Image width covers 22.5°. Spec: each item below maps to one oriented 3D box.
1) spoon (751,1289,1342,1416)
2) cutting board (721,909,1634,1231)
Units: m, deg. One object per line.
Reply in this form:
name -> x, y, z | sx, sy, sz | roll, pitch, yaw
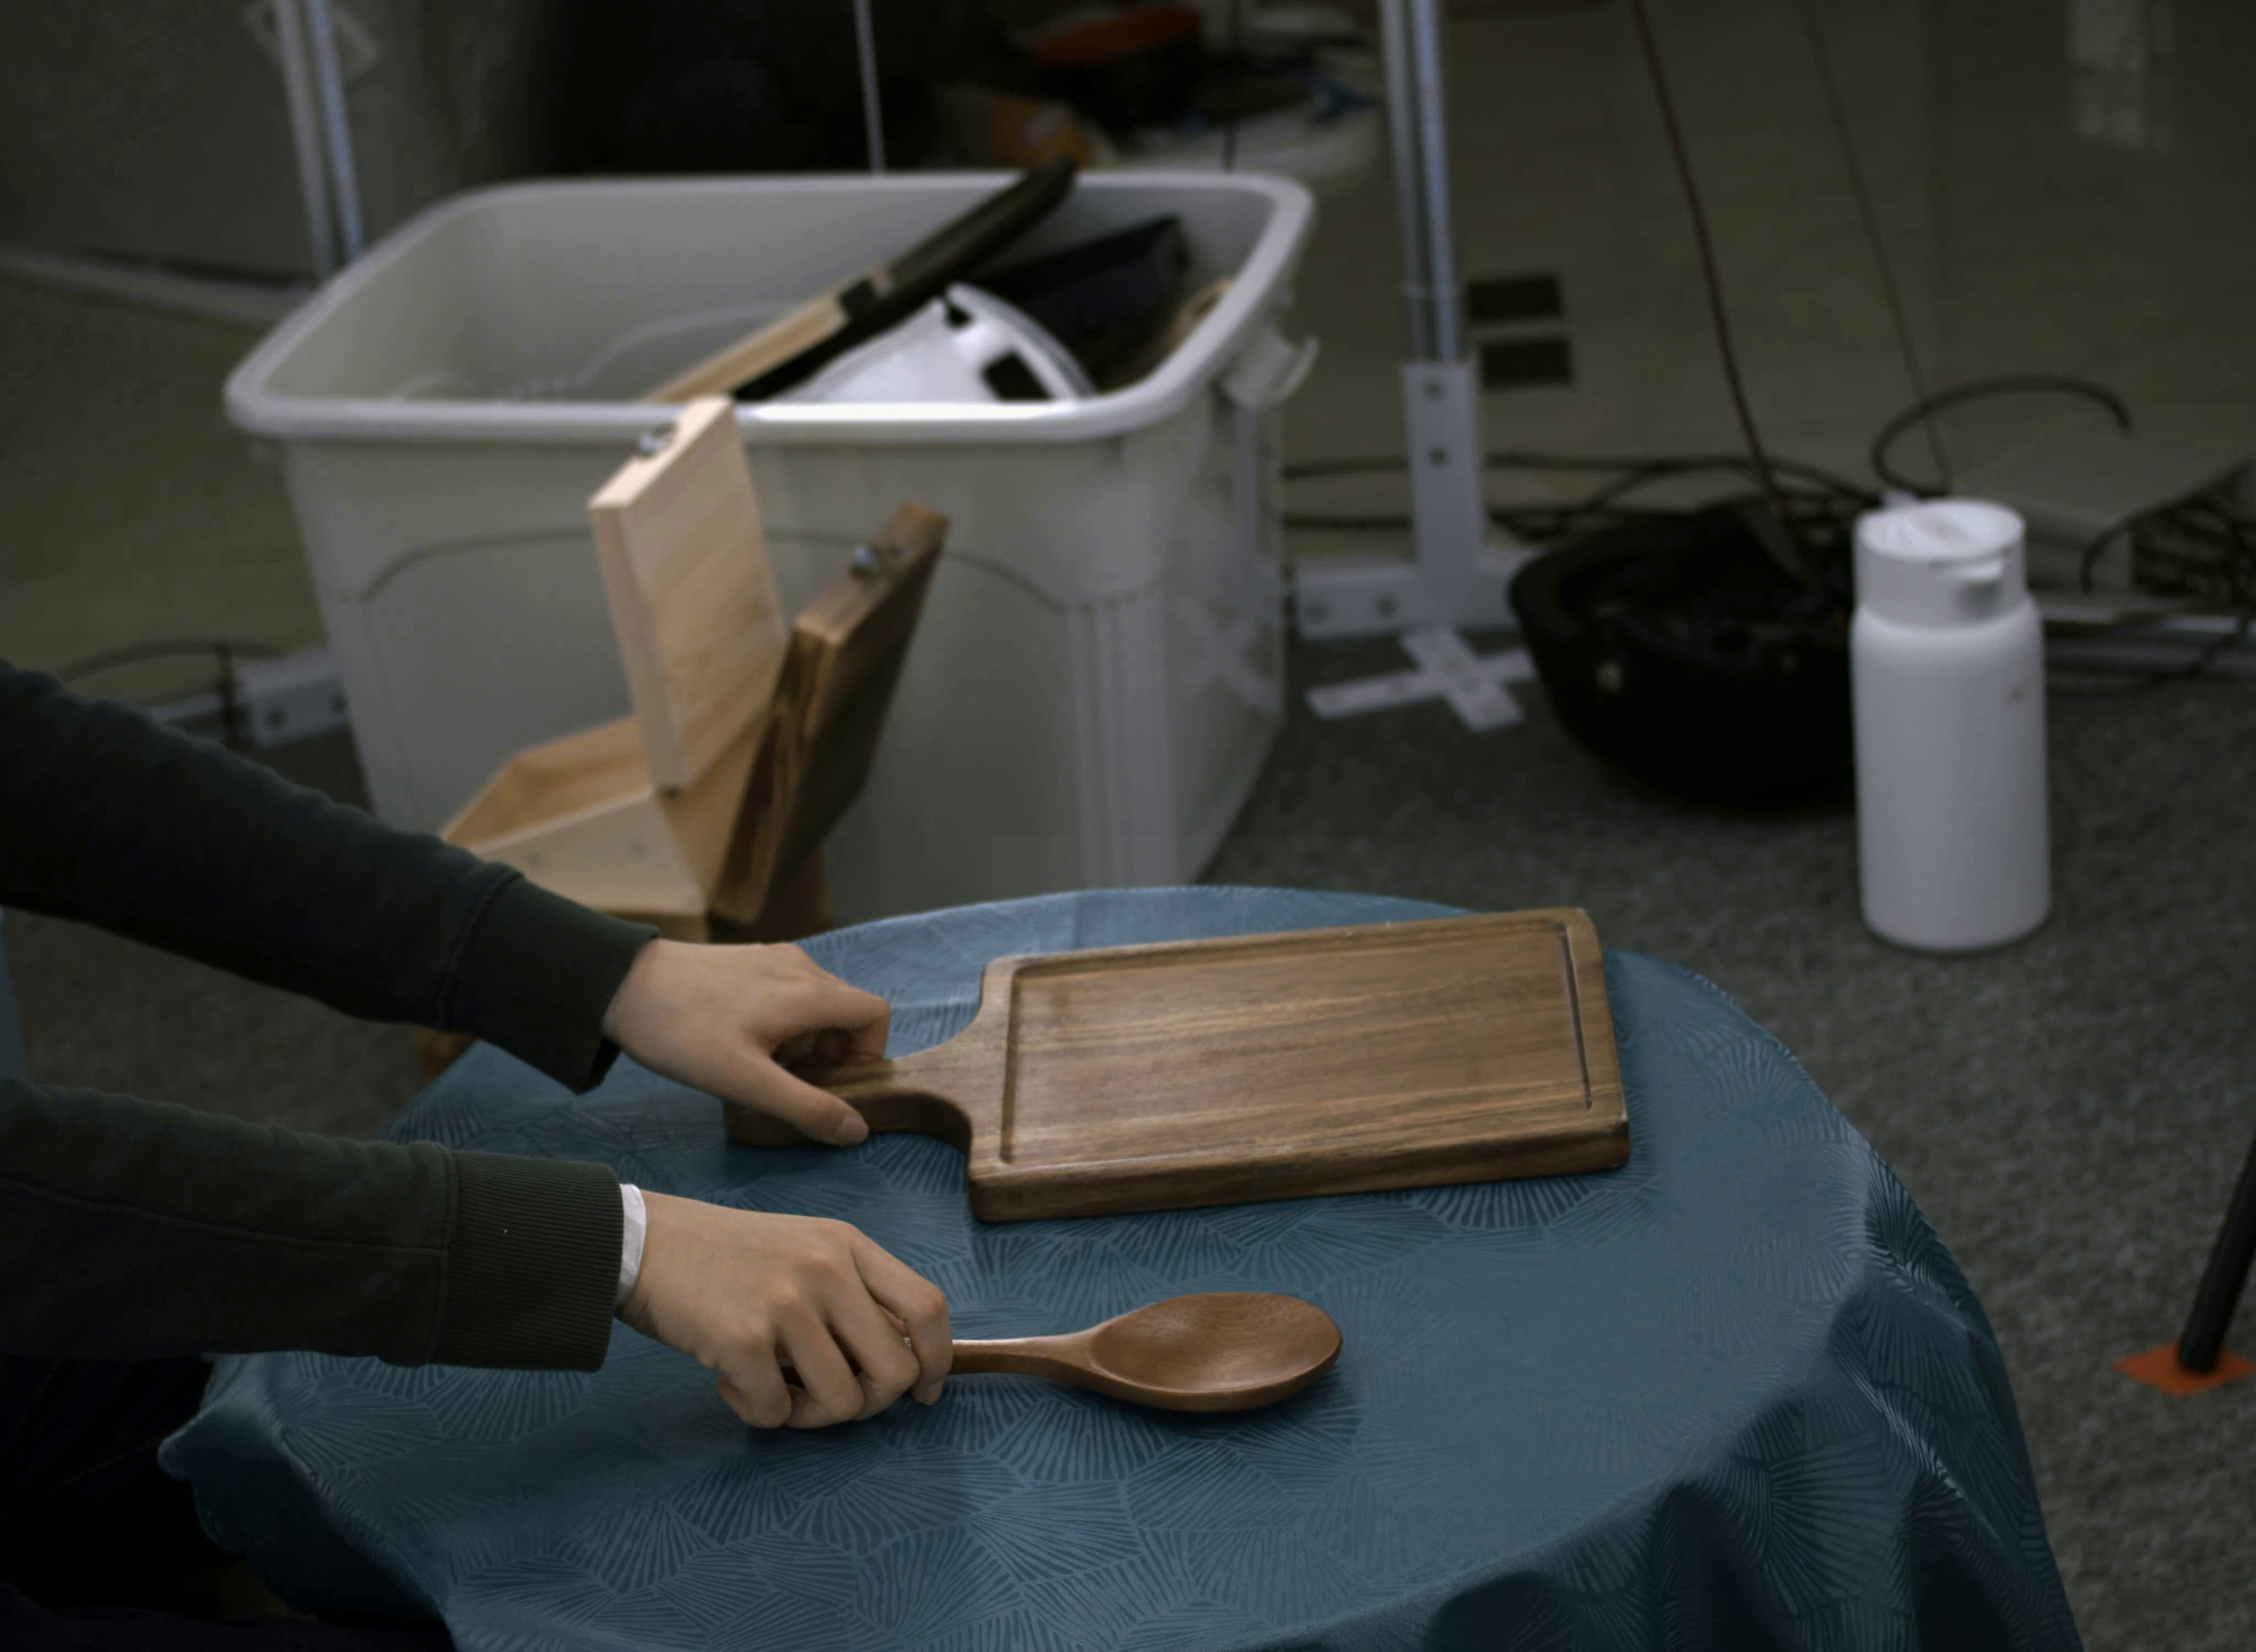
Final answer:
spoon -> -0.030, 0.190, 2.030 | 0.215, 0.017, 0.074 | -1, 27, 11
cutting board -> 0.016, 0.097, 2.218 | 0.351, 0.023, 0.198 | -5, 26, 3
